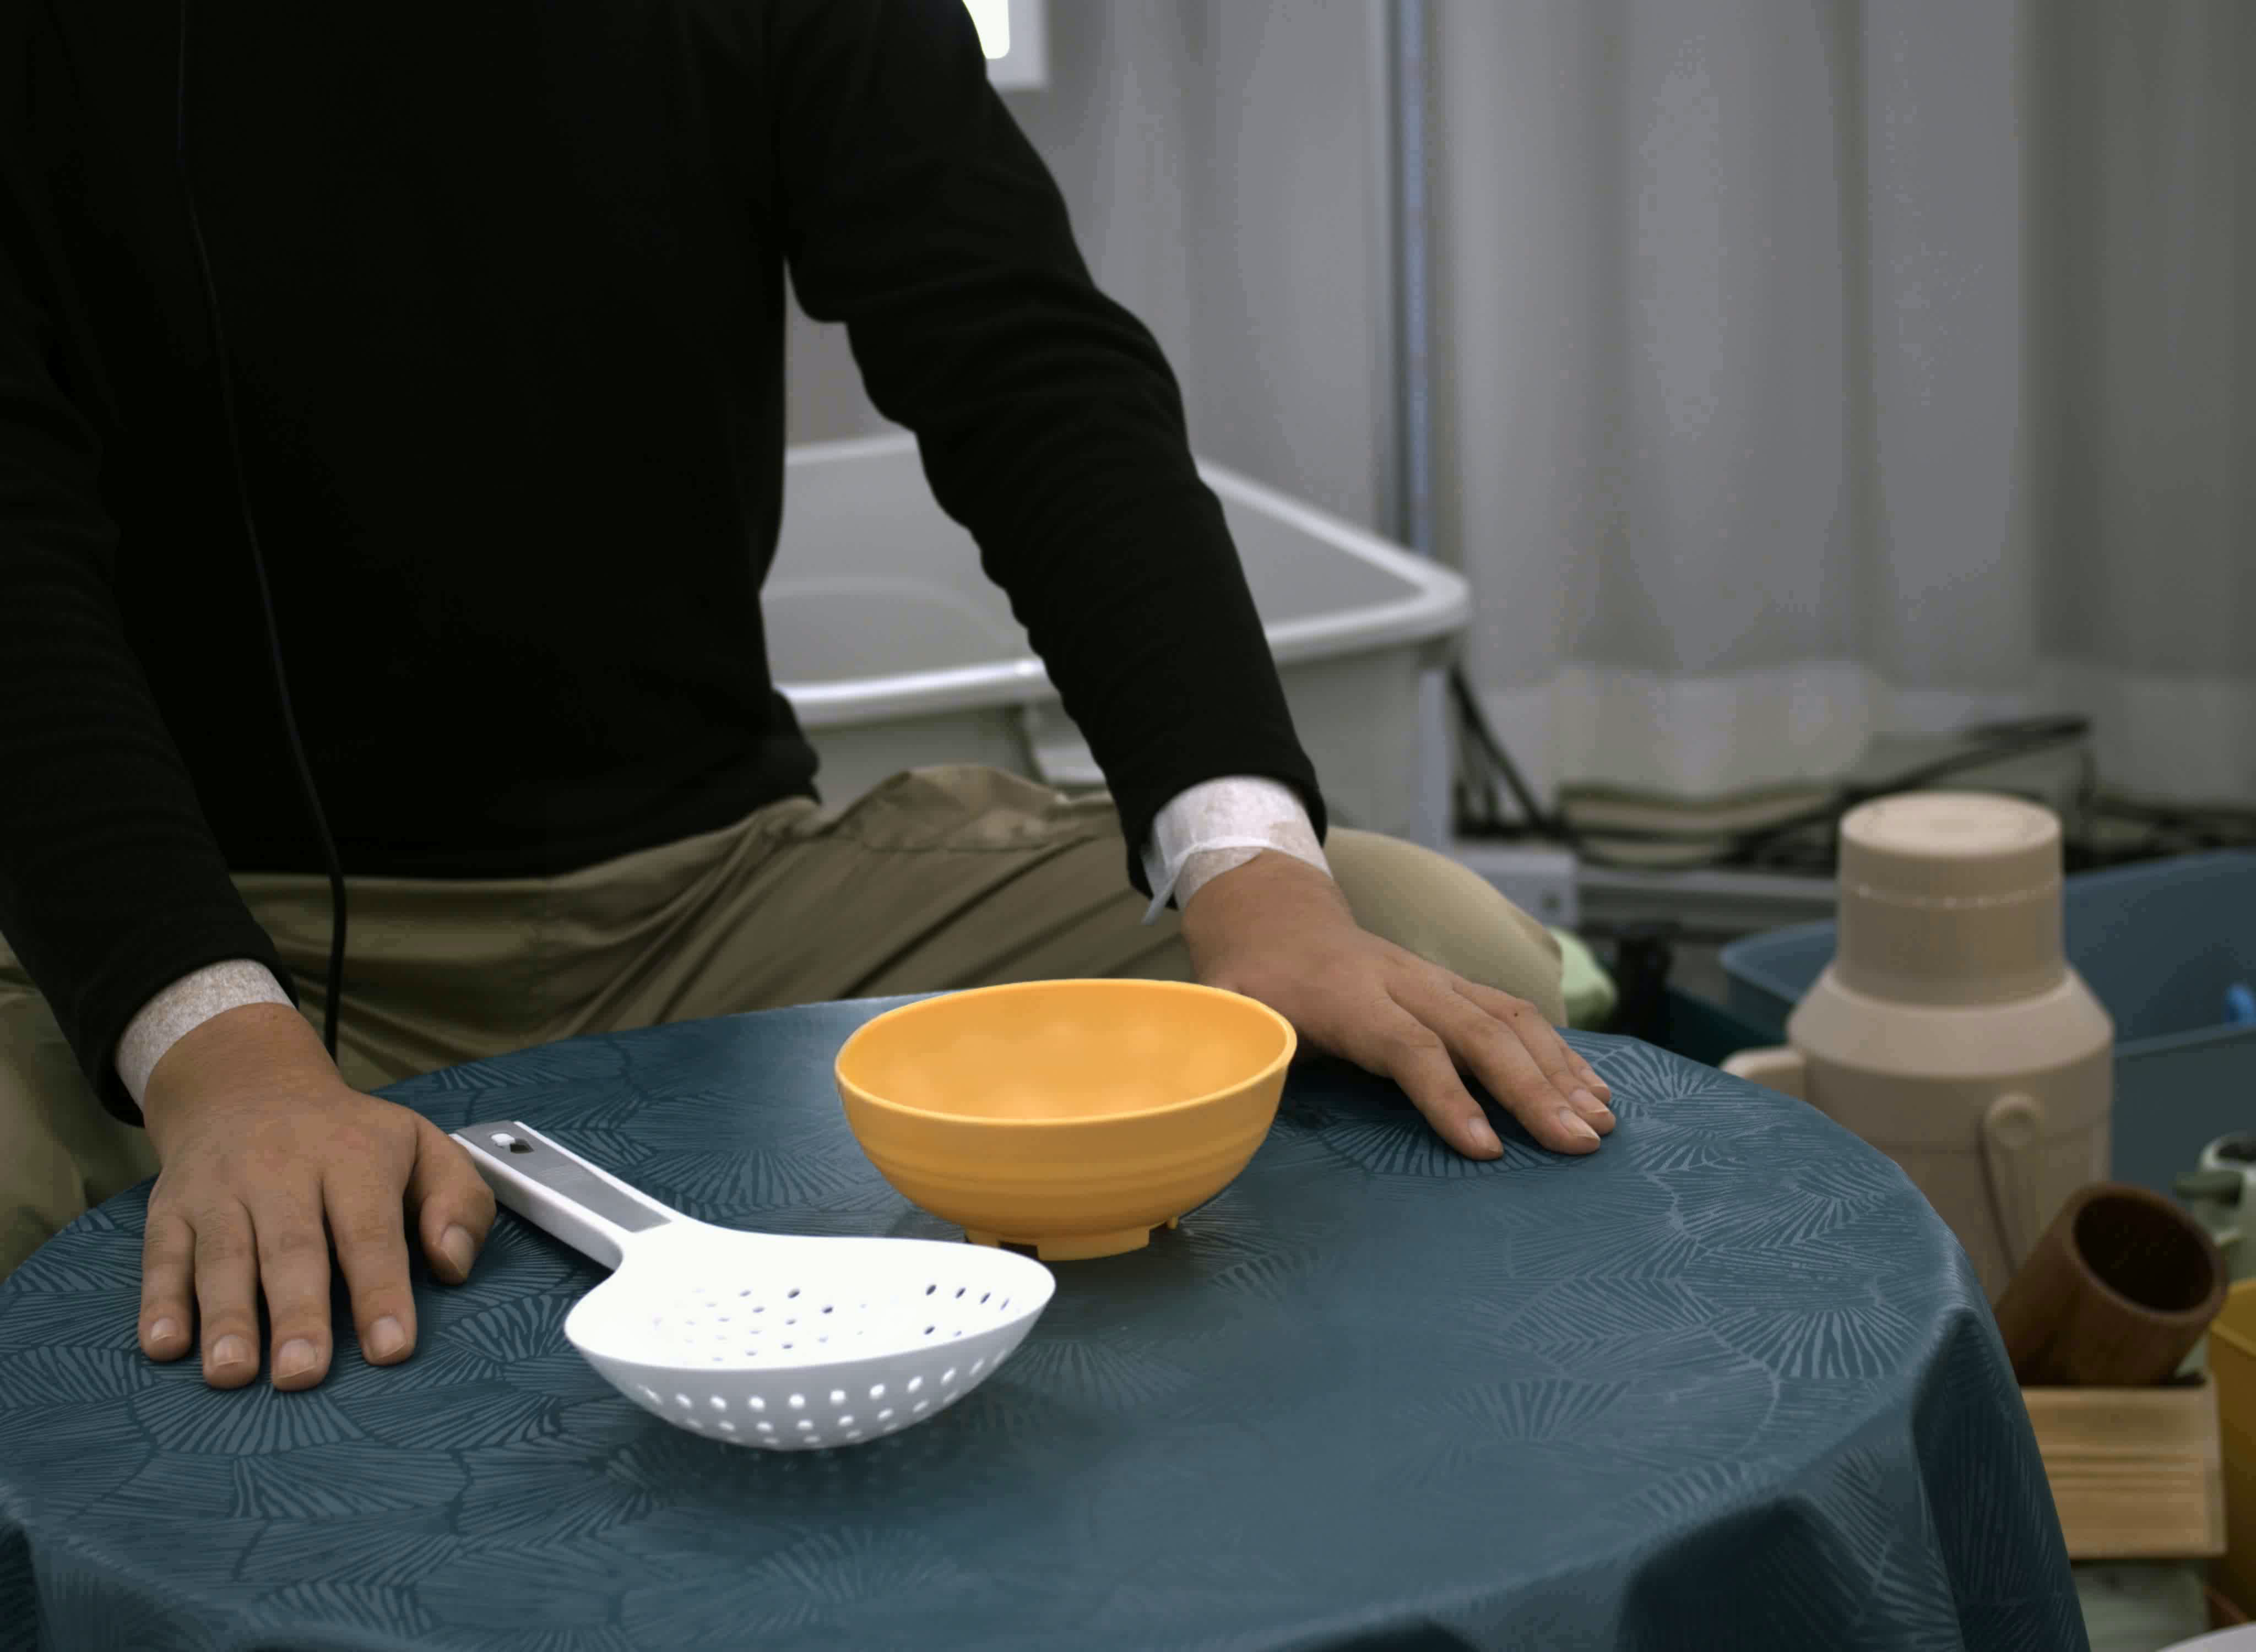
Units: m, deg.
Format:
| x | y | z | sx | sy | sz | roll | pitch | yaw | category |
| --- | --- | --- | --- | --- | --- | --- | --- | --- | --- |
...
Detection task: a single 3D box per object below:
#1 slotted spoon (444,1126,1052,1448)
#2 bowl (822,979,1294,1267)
| x | y | z | sx | sy | sz | roll | pitch | yaw | category |
| --- | --- | --- | --- | --- | --- | --- | --- | --- | --- |
| -0.135 | 0.126 | 1.610 | 0.135 | 0.045 | 0.352 | -9 | 15 | -24 | slotted spoon |
| -0.021 | 0.097 | 1.679 | 0.145 | 0.060 | 0.146 | -1 | 15 | 0 | bowl |
